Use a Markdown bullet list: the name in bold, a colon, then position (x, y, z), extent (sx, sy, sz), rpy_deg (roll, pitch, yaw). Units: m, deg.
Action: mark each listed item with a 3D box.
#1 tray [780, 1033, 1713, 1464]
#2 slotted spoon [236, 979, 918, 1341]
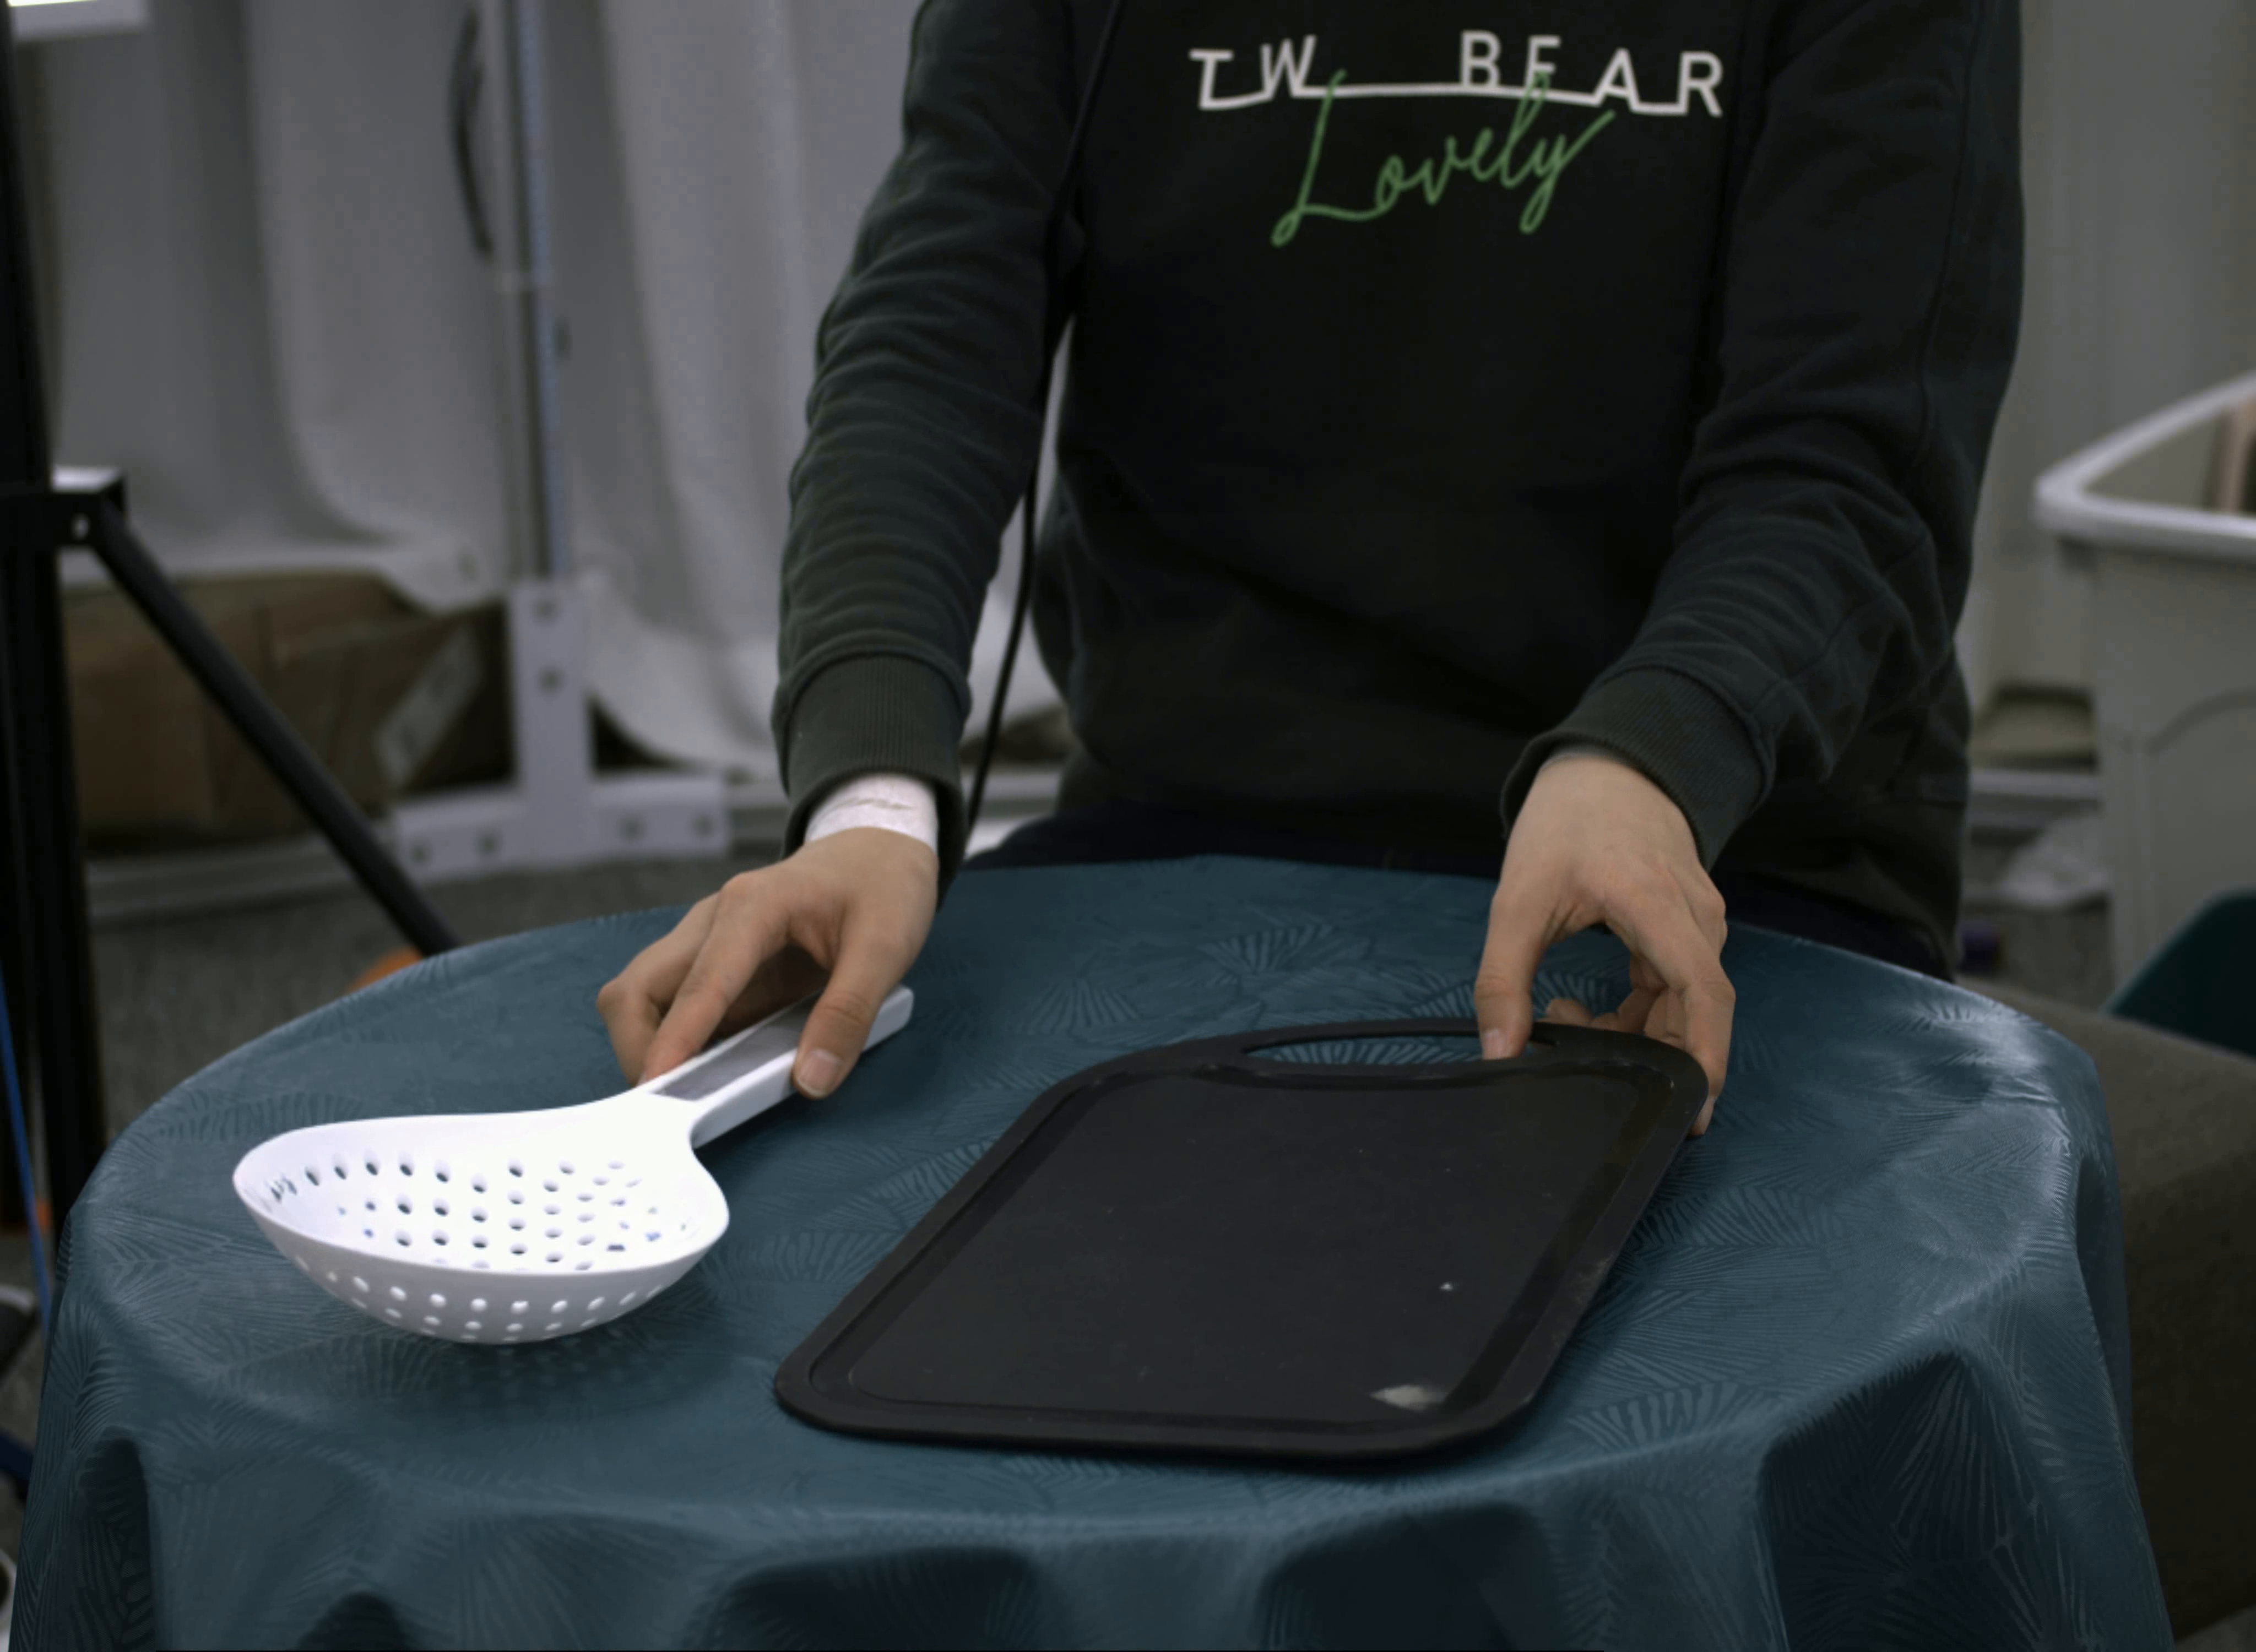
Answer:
- **tray**: position (0.042, 0.111, 1.503), extent (0.213, 0.010, 0.322), rpy_deg (0, 17, 19)
- **slotted spoon**: position (-0.141, 0.088, 1.566), extent (0.137, 0.046, 0.345), rpy_deg (13, 19, 19)
